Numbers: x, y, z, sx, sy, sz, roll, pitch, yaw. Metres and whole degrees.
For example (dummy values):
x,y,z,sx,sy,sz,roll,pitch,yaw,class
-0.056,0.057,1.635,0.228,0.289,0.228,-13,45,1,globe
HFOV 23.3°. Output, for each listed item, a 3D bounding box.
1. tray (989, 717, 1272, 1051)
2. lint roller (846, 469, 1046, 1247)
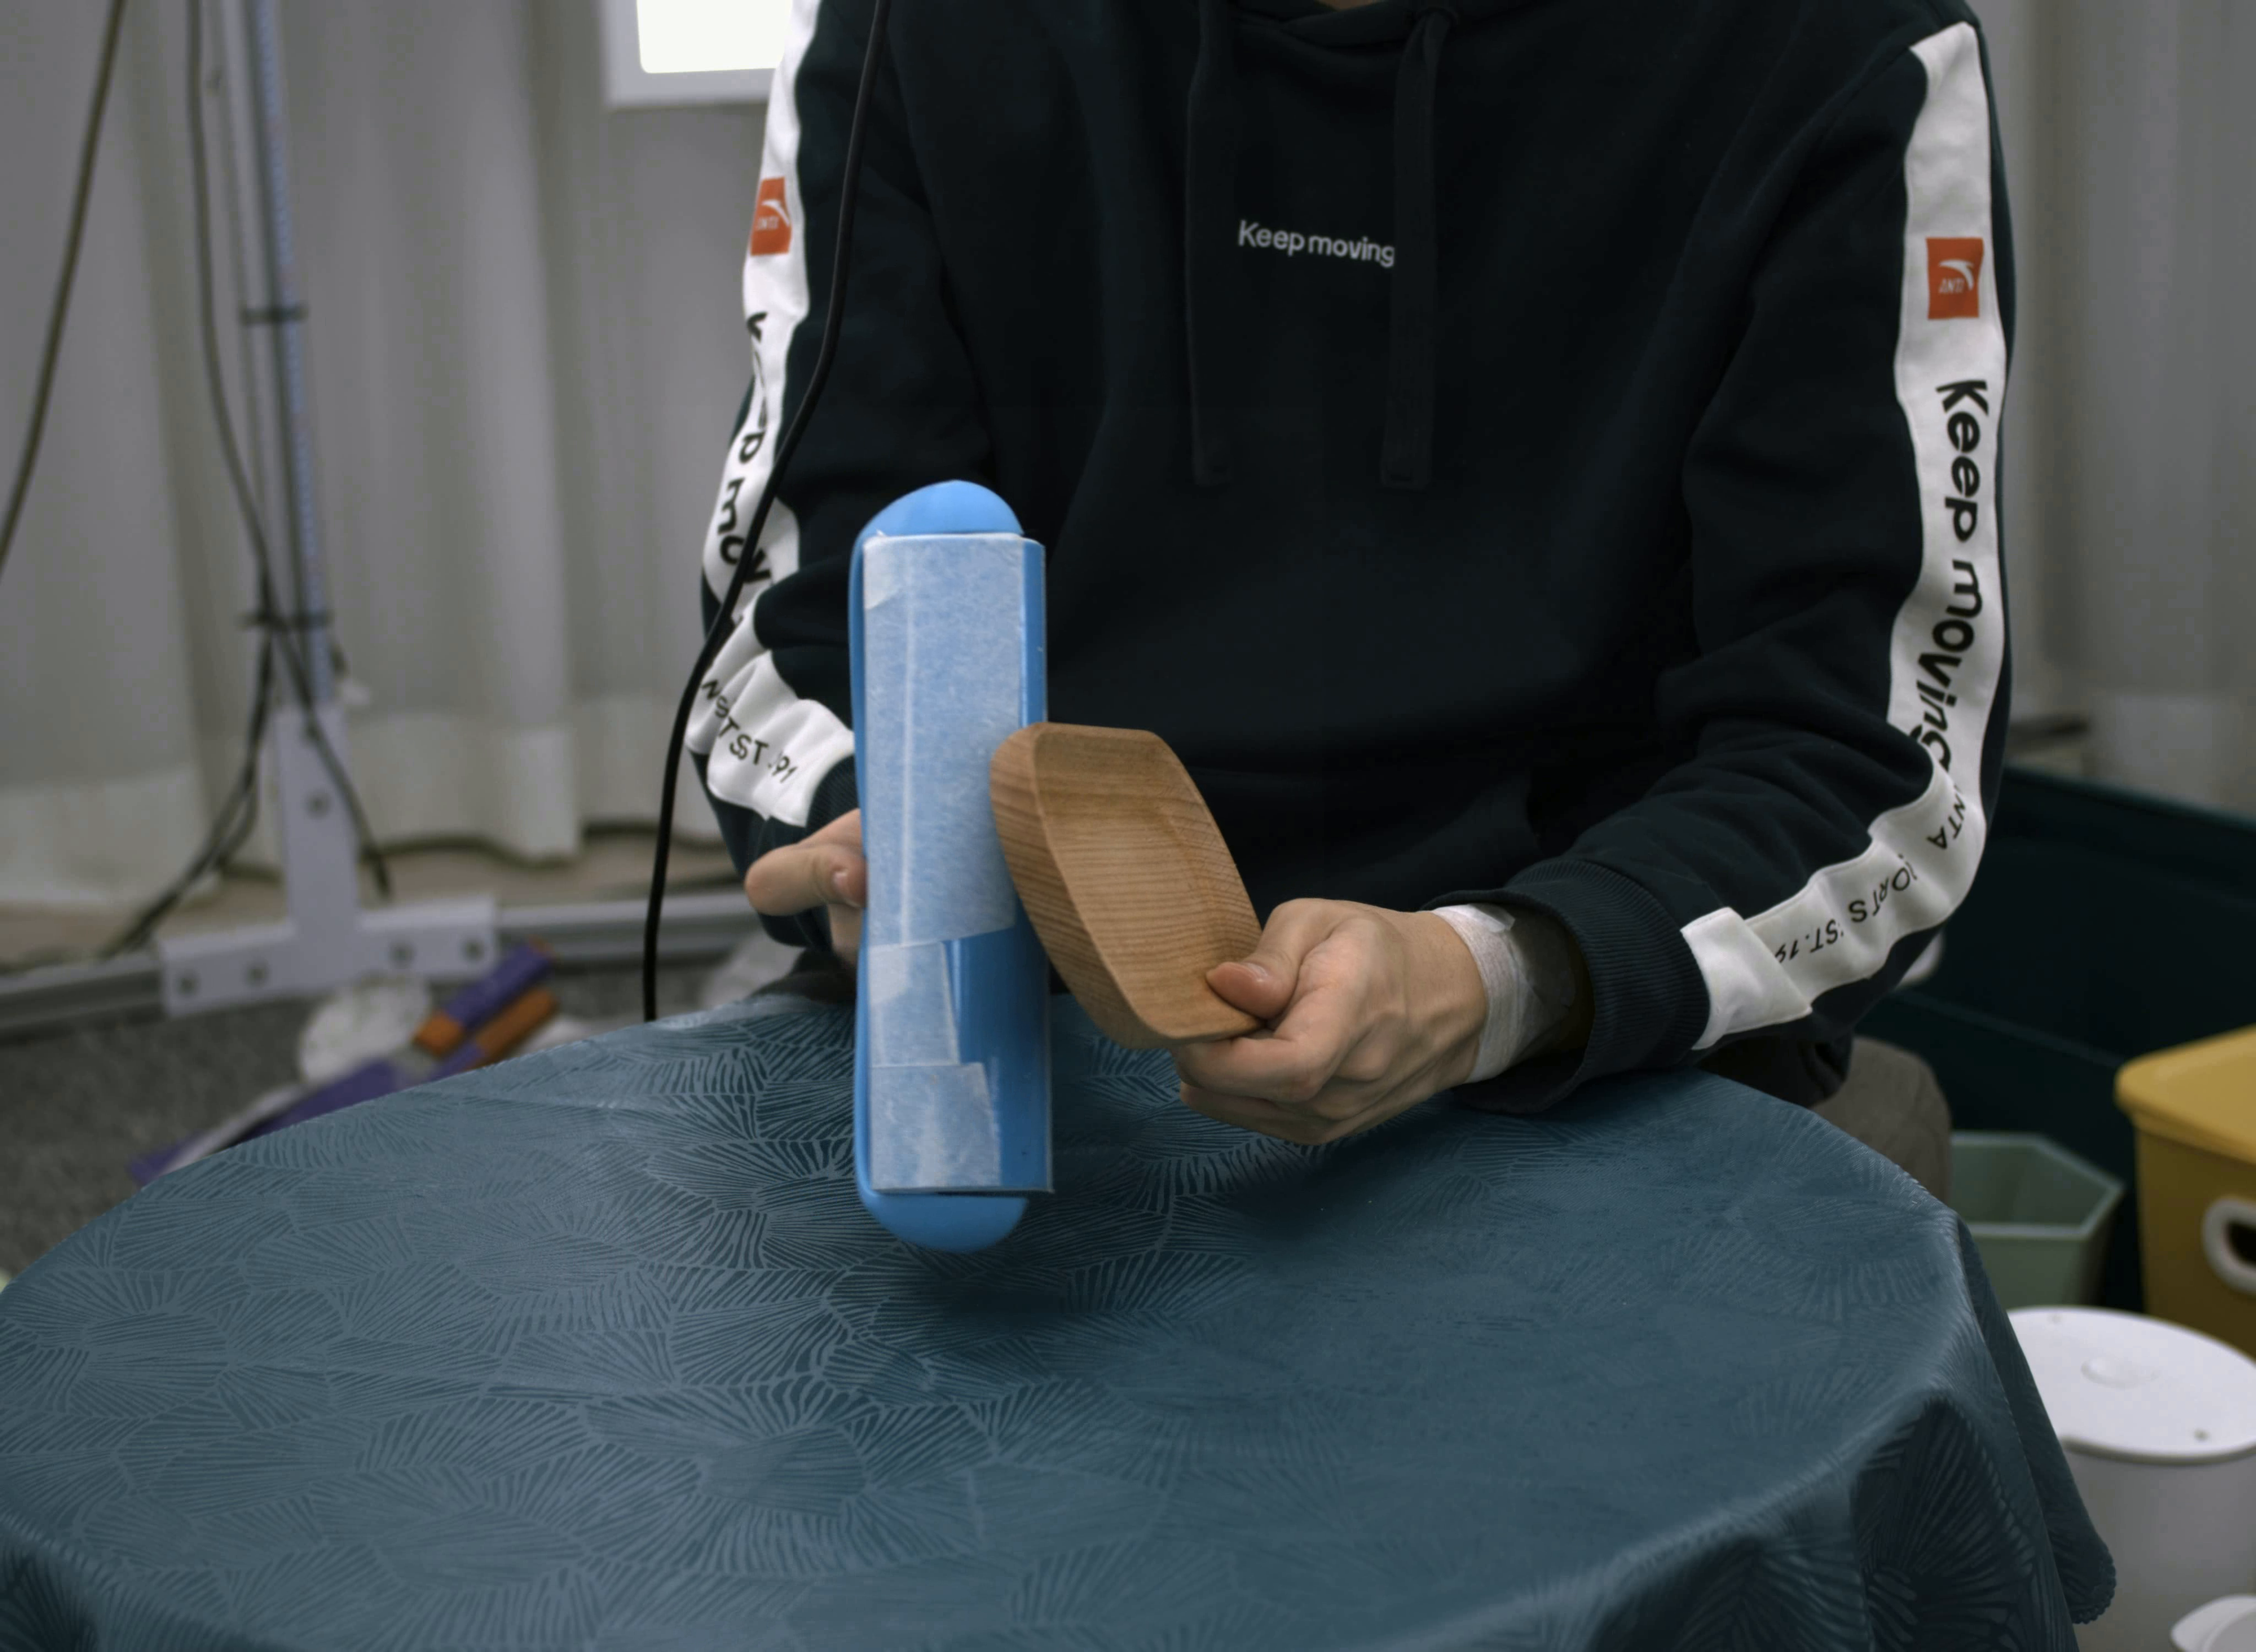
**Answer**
x,y,z,sx,sy,sz,roll,pitch,yaw,class
0.002,0.017,1.630,0.020,0.102,0.230,-23,-5,11,tray
-0.051,0.016,1.671,0.068,0.230,0.179,-2,-8,2,lint roller
